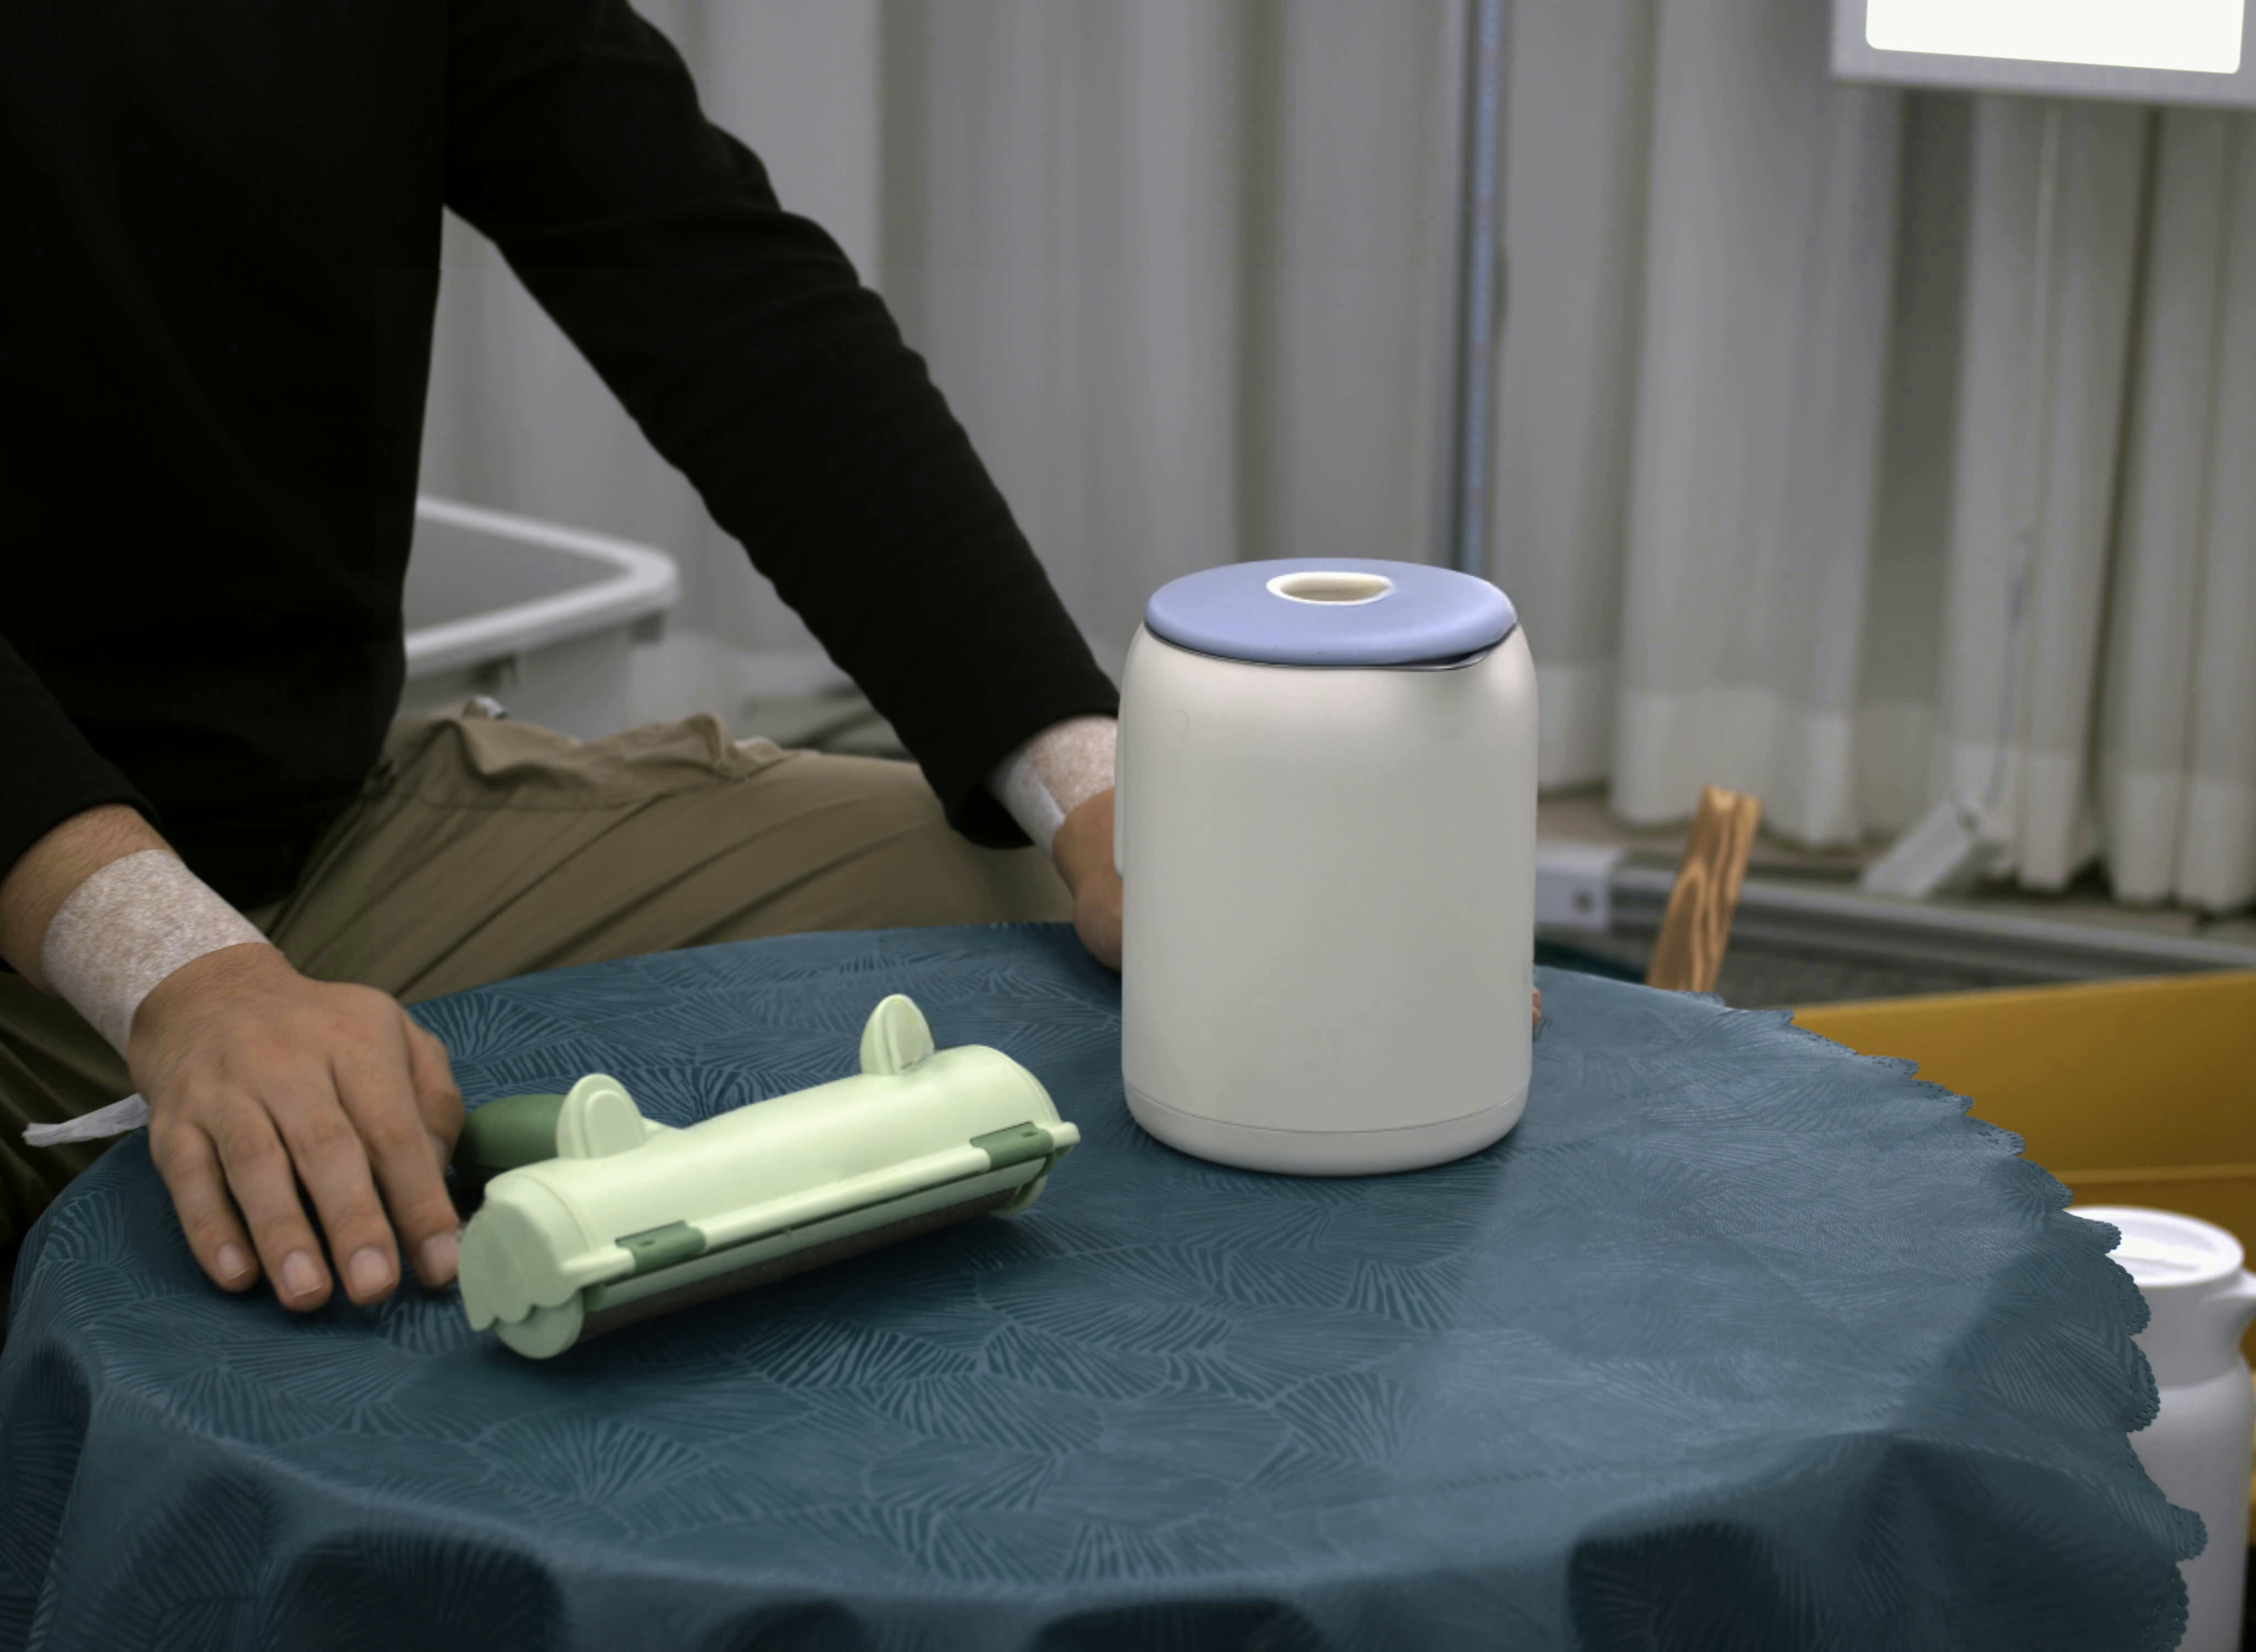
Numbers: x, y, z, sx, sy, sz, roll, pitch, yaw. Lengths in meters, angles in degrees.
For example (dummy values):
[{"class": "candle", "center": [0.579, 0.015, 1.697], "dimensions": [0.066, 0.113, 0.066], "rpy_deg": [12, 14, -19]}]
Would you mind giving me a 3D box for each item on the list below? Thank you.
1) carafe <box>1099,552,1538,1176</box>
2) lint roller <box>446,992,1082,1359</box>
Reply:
[{"class": "carafe", "center": [0.050, 0.006, 1.684], "dimensions": [0.133, 0.184, 0.188], "rpy_deg": [-10, 17, -33]}, {"class": "lint roller", "center": [-0.142, 0.088, 1.560], "dimensions": [0.181, 0.083, 0.199], "rpy_deg": [18, 22, 42]}]
